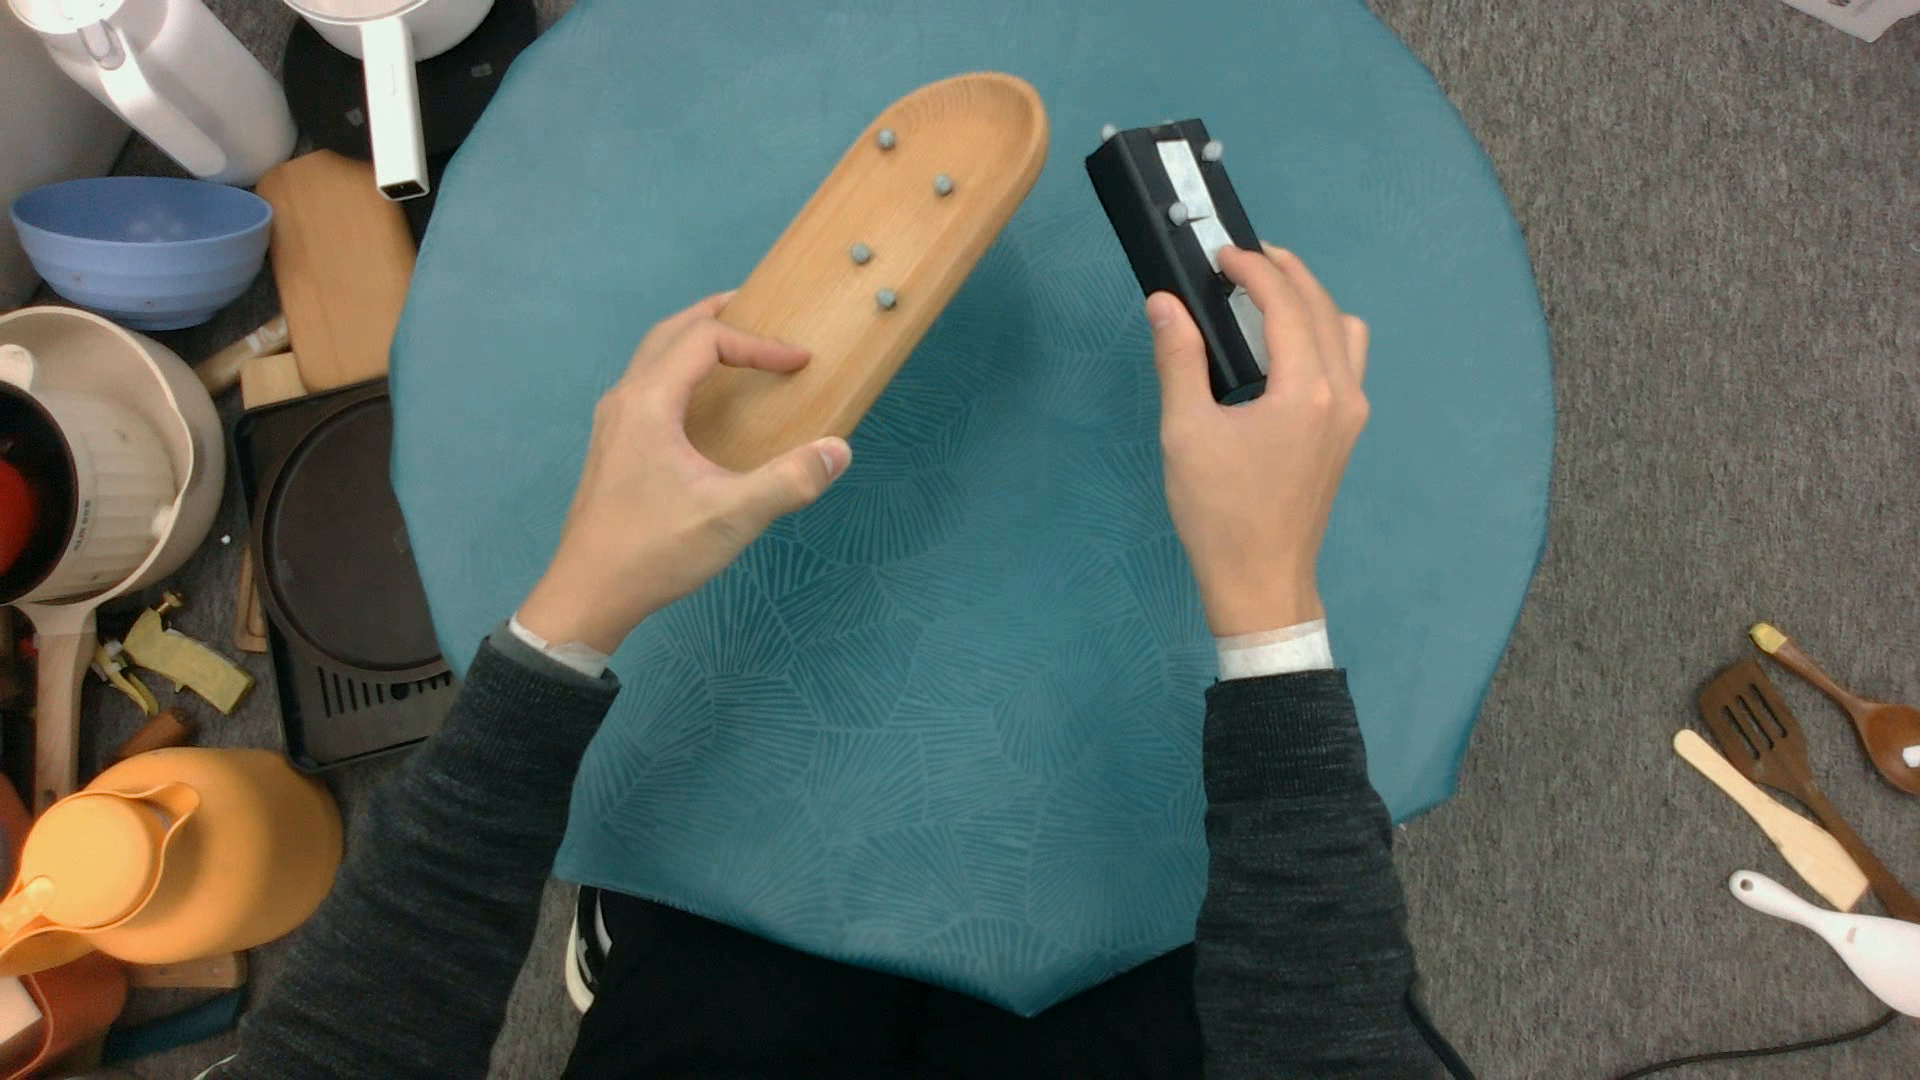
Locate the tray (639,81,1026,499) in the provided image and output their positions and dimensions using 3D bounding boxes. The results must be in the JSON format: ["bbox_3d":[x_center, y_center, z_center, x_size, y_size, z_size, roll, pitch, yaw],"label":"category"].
[{"bbox_3d":[-0.053,-0.113,0.597,0.101,0.020,0.232,21,71,37],"label":"tray"}]

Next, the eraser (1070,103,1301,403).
[{"bbox_3d":[0.096,-0.124,0.593,0.054,0.030,0.125,-21,83,-28],"label":"eraser"}]
